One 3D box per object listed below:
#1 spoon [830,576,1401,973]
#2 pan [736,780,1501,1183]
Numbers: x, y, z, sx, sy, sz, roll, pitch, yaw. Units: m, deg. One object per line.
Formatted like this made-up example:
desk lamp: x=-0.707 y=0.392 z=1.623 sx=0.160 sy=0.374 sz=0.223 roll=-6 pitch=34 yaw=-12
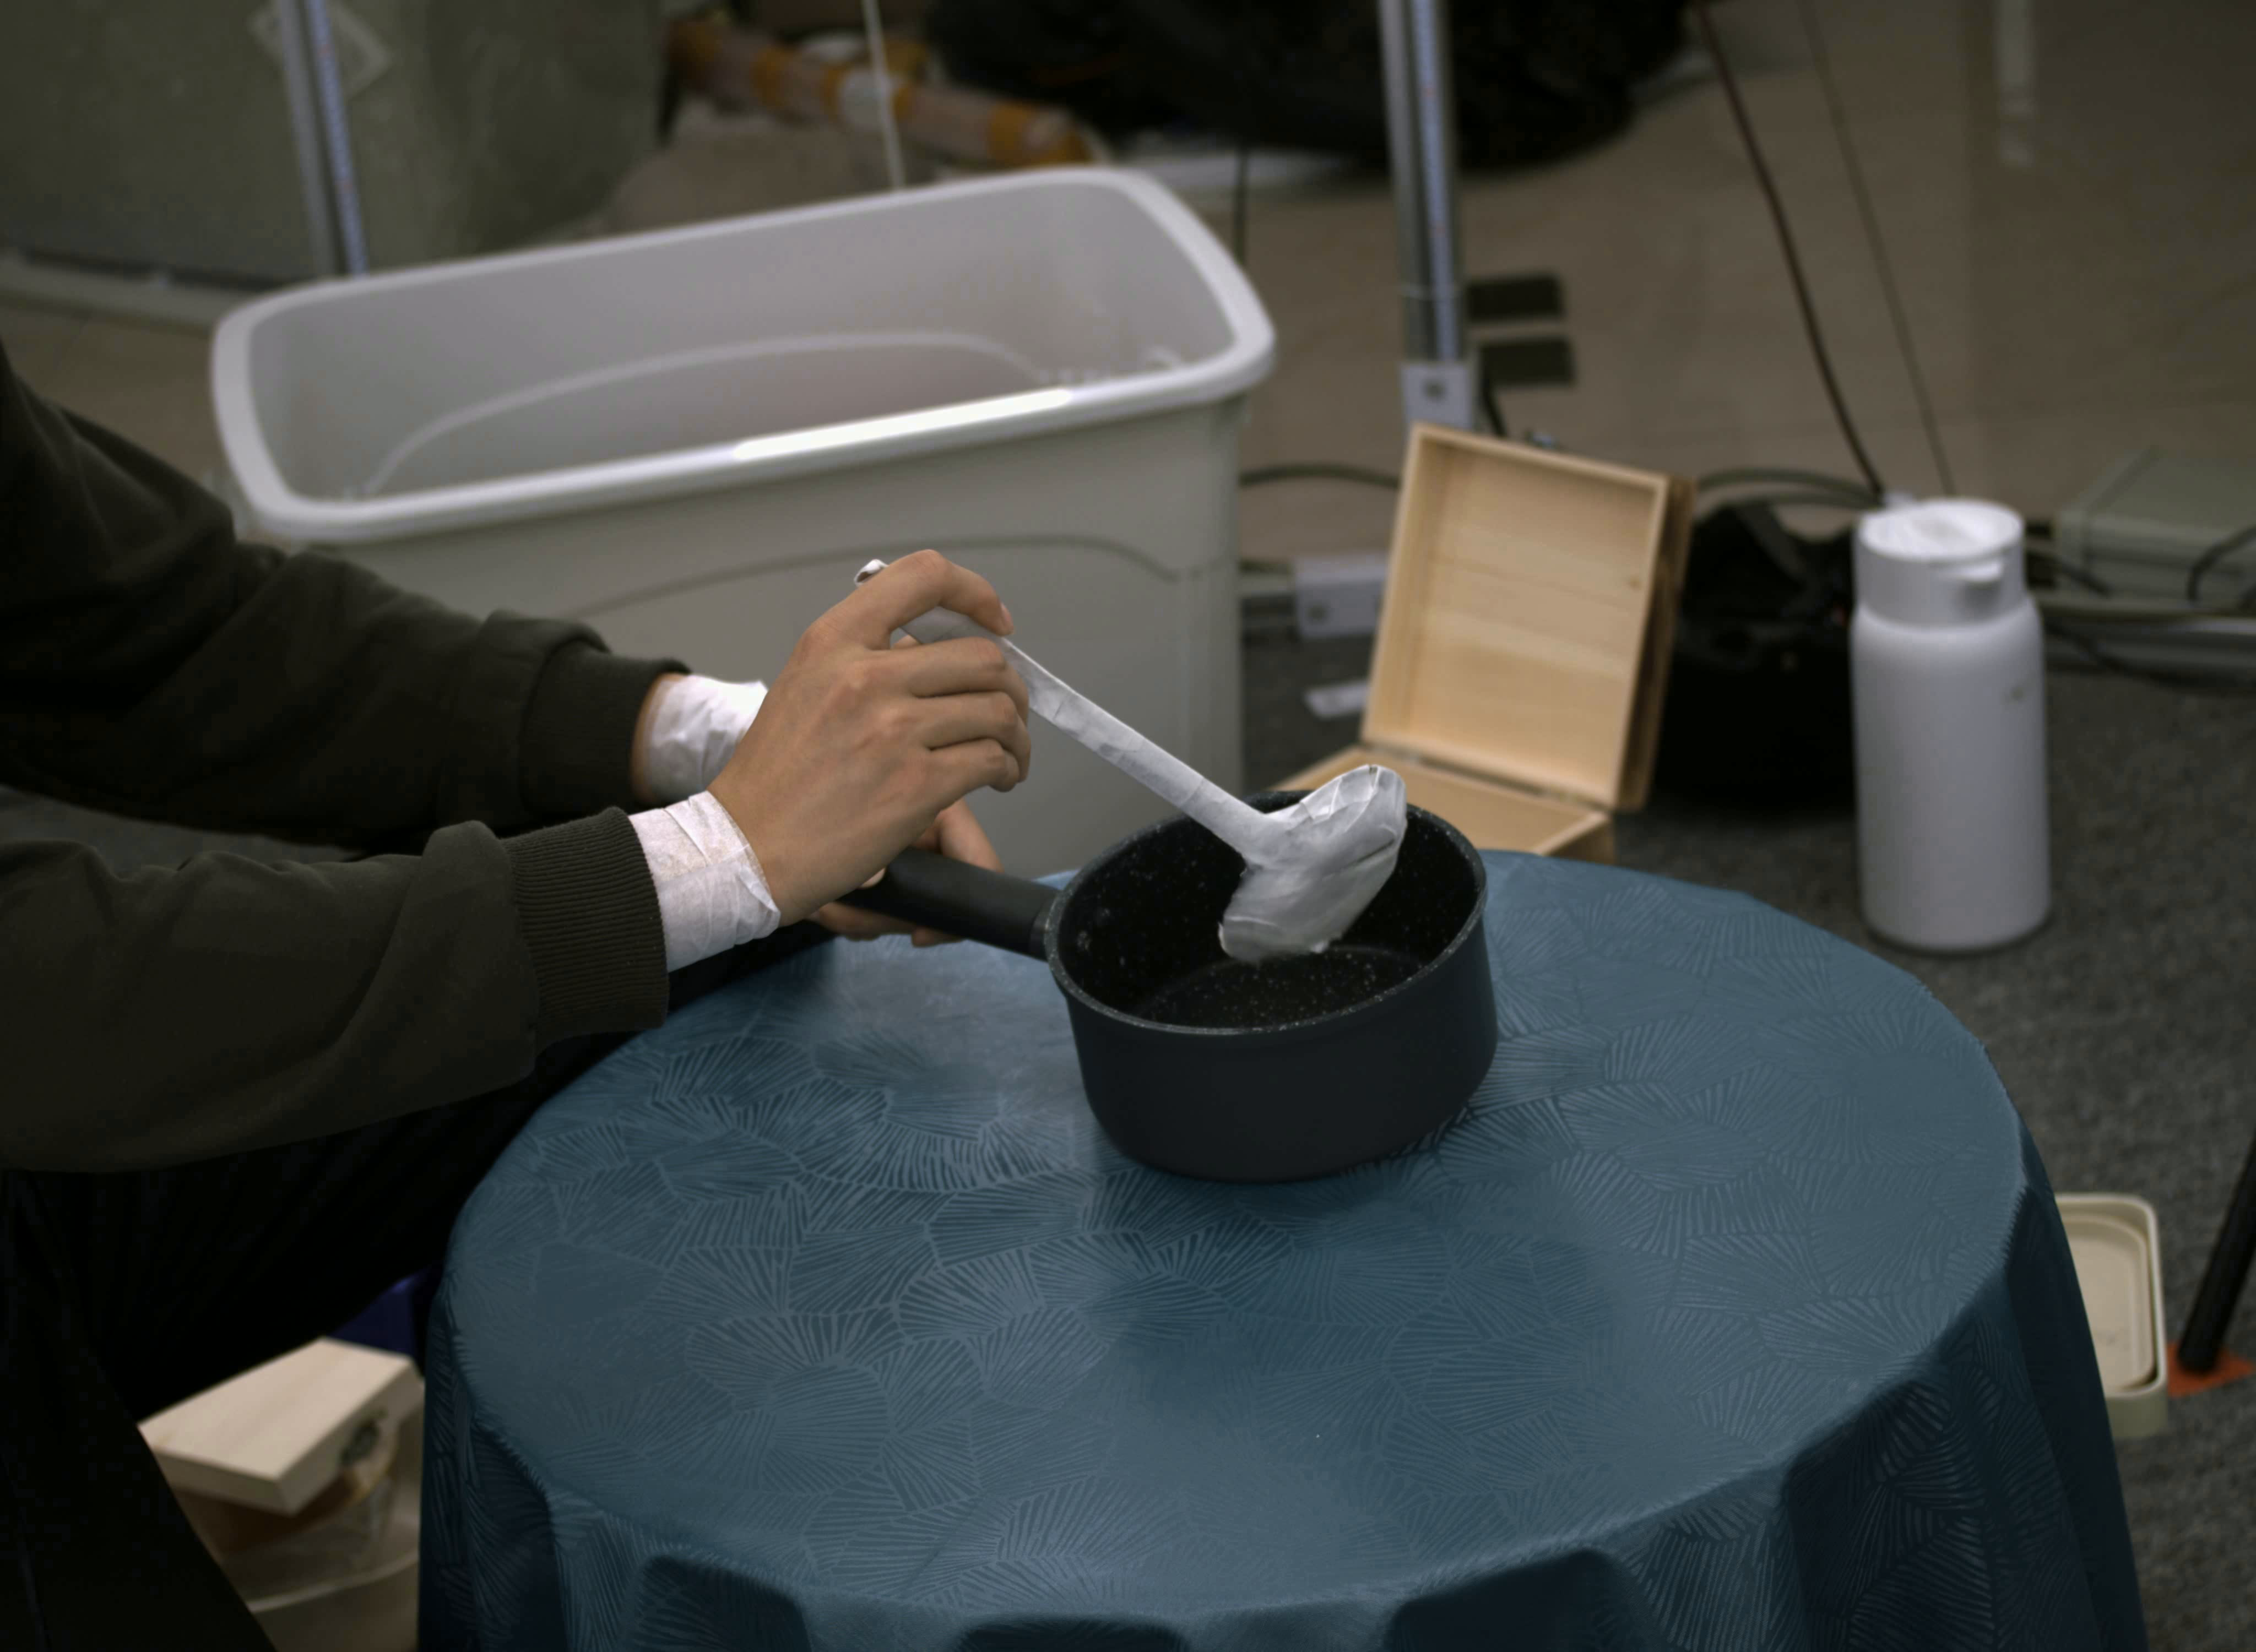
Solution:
spoon: x=-0.008 y=-0.027 z=2.105 sx=0.279 sy=0.101 sz=0.058 roll=30 pitch=8 yaw=-27
pan: x=-0.009 y=0.048 z=2.226 sx=0.327 sy=0.088 sz=0.169 roll=11 pitch=37 yaw=29
